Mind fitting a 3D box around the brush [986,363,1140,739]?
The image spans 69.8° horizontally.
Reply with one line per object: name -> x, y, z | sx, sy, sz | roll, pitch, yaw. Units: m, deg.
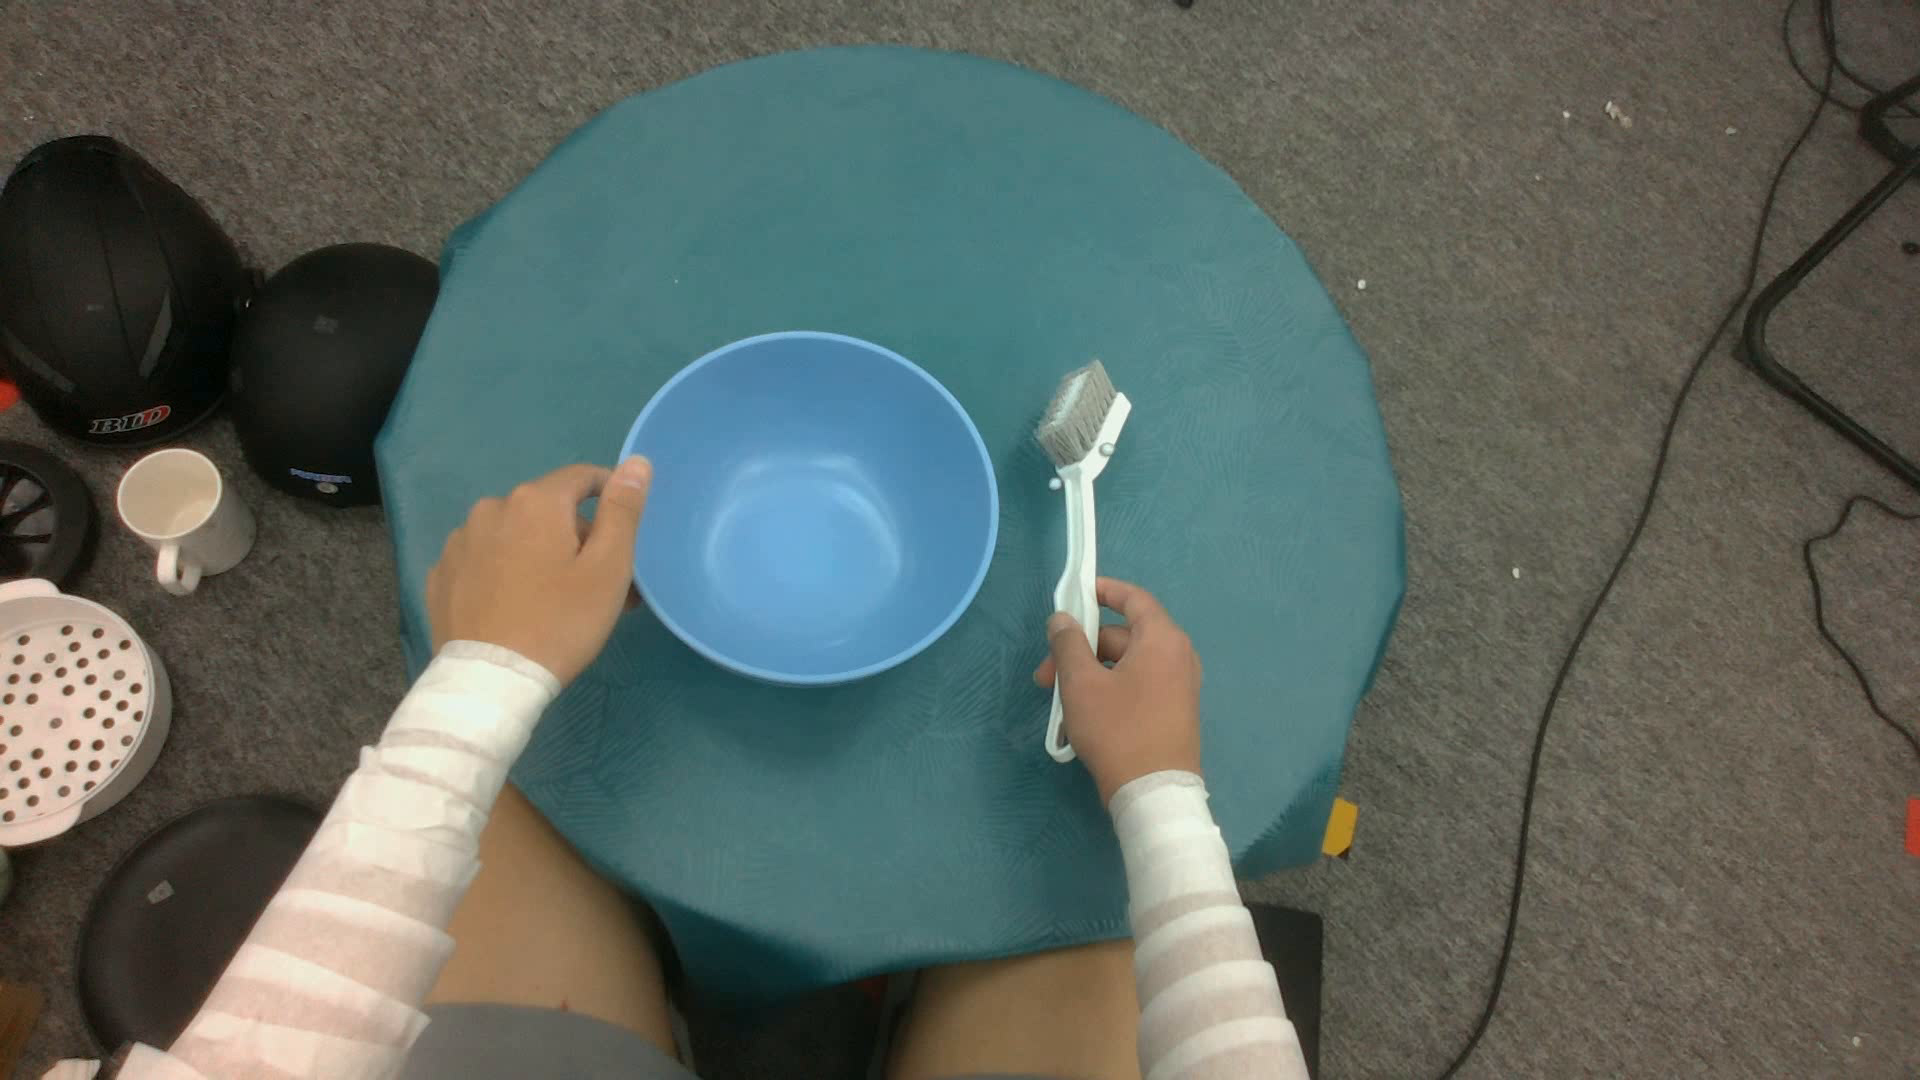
brush -> 0.051, -0.004, 0.777 | 0.034, 0.050, 0.245 | -2, 52, 35

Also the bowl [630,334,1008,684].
bowl -> -0.078, -0.005, 0.759 | 0.196, 0.095, 0.197 | 3, 67, -8
